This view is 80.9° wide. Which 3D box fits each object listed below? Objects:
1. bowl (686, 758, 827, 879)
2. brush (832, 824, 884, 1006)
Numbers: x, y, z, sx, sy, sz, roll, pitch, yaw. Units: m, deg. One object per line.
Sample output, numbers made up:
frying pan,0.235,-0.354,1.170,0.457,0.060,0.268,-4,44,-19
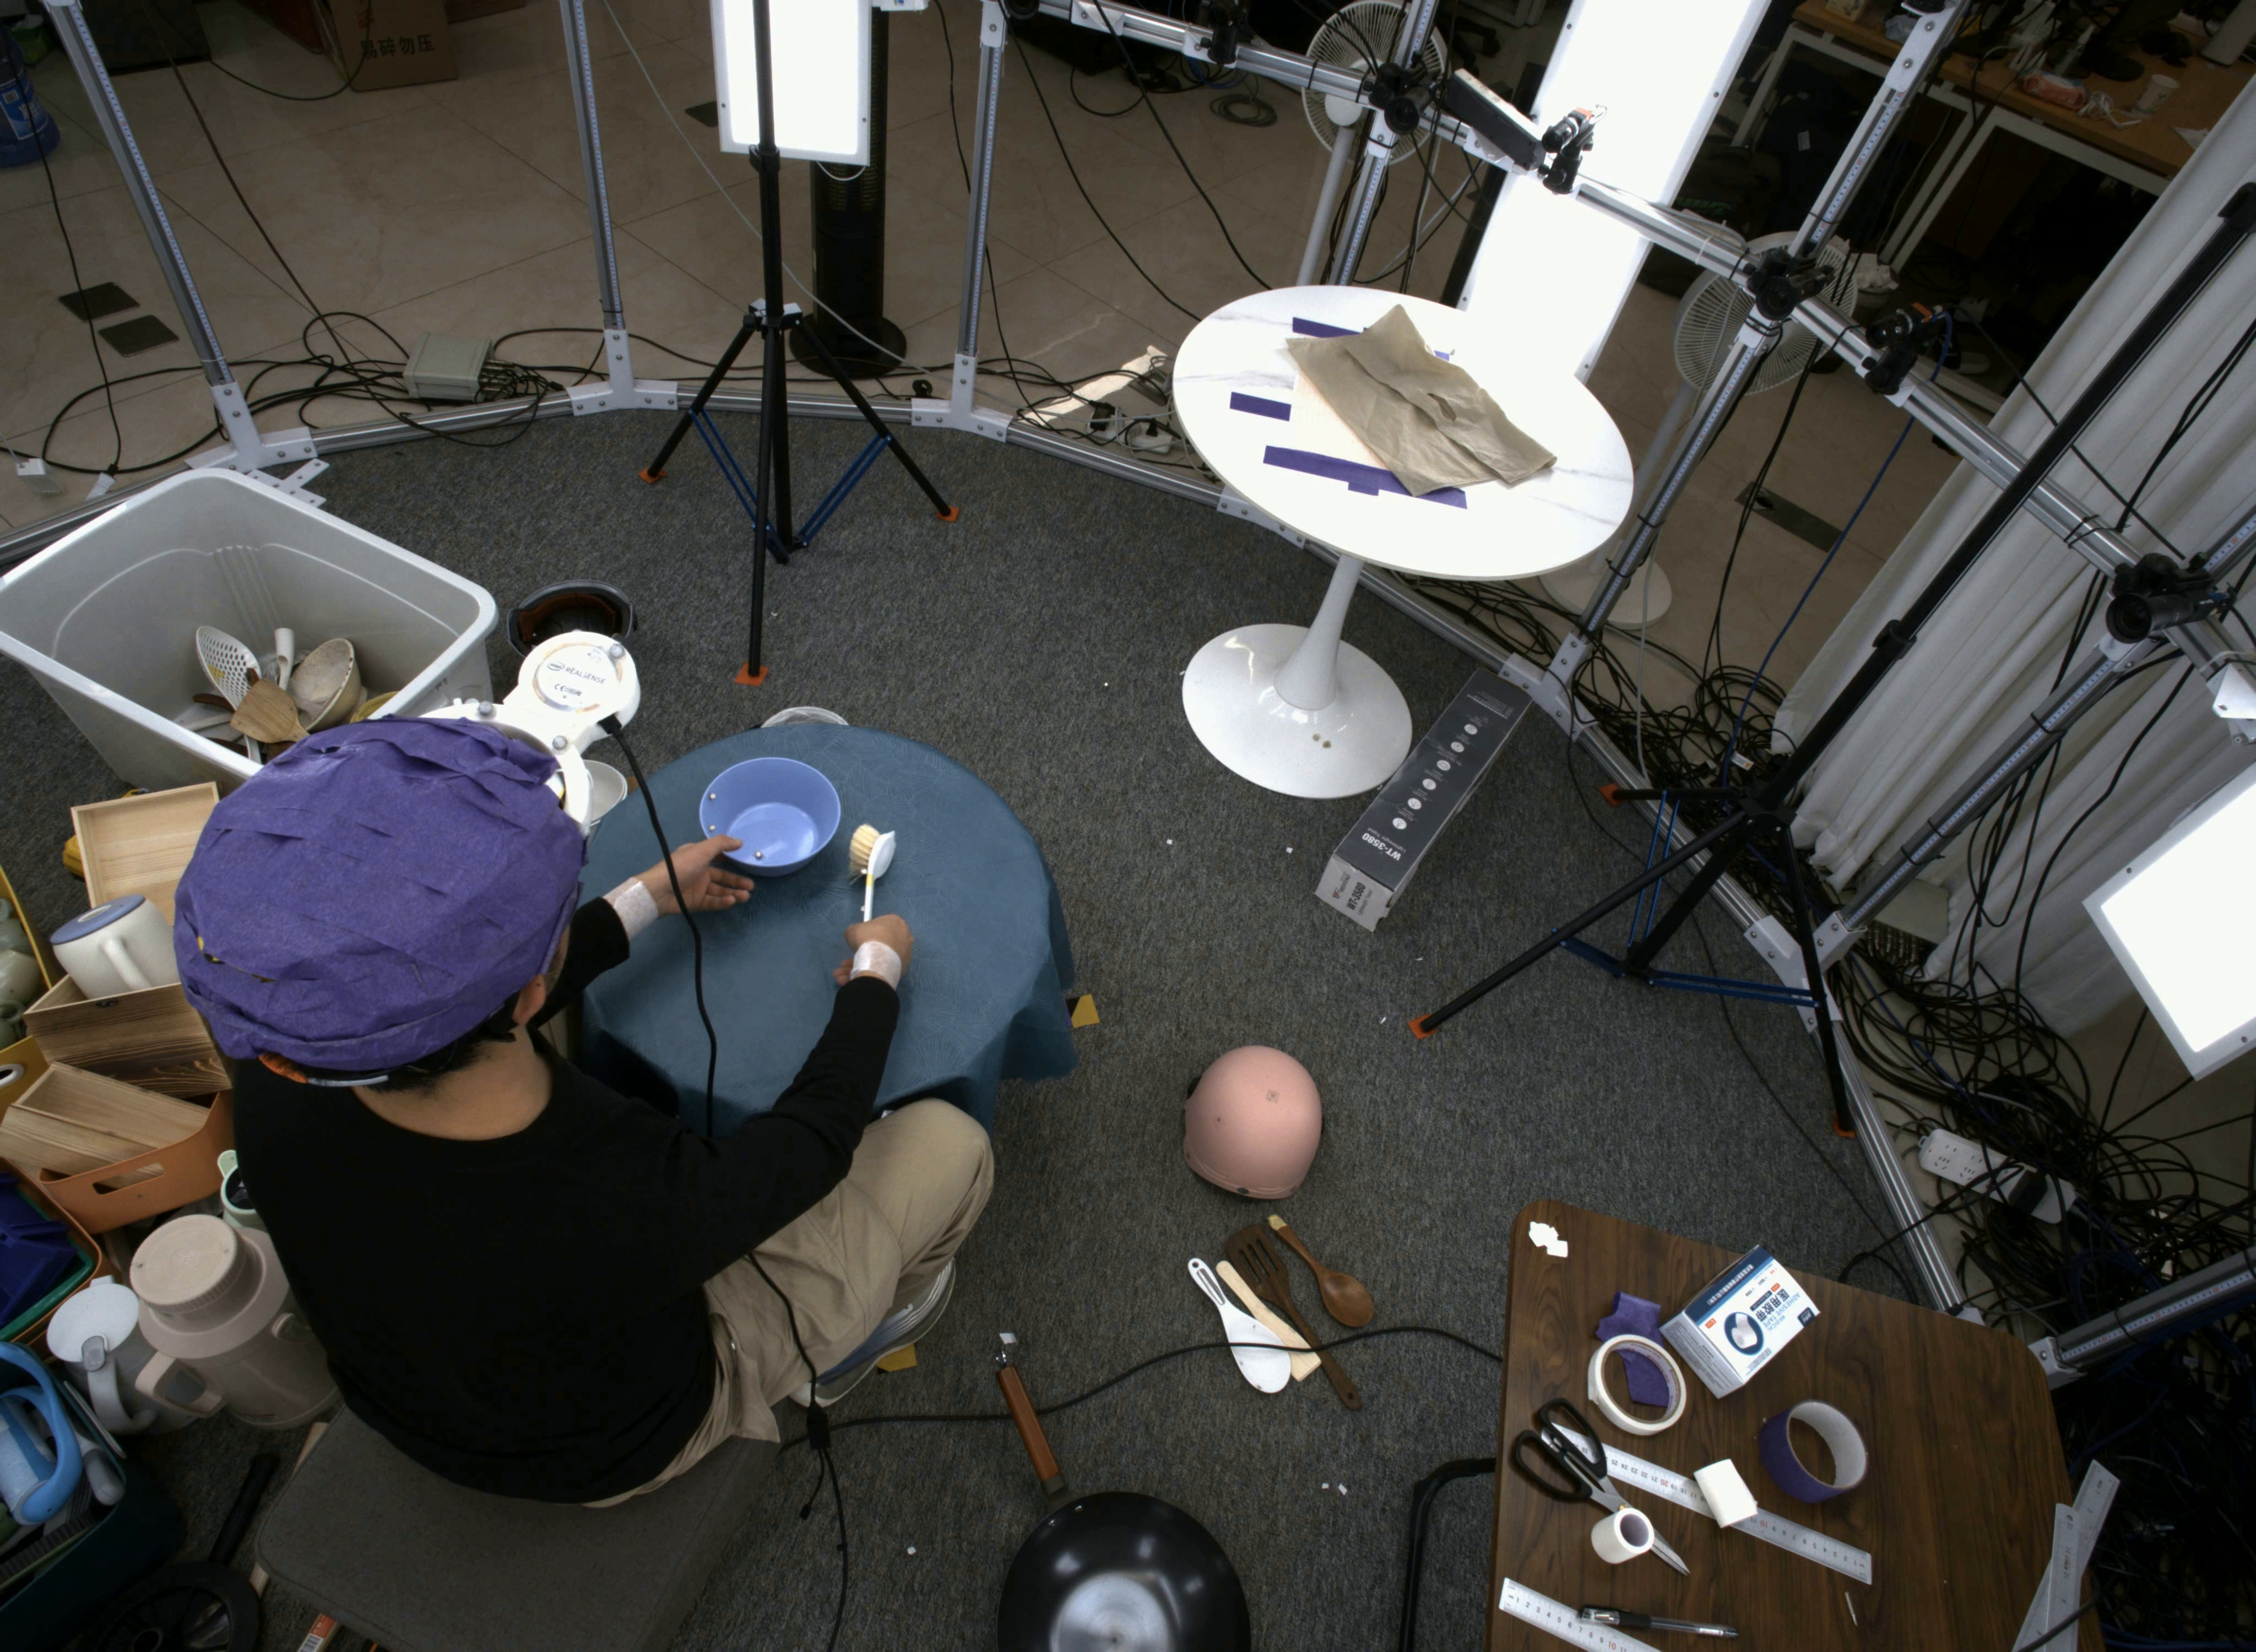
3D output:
bowl,-0.474,0.000,1.659,0.175,0.072,0.173,7,53,-8
brush,-0.347,0.105,1.610,0.055,0.071,0.261,-1,51,1
